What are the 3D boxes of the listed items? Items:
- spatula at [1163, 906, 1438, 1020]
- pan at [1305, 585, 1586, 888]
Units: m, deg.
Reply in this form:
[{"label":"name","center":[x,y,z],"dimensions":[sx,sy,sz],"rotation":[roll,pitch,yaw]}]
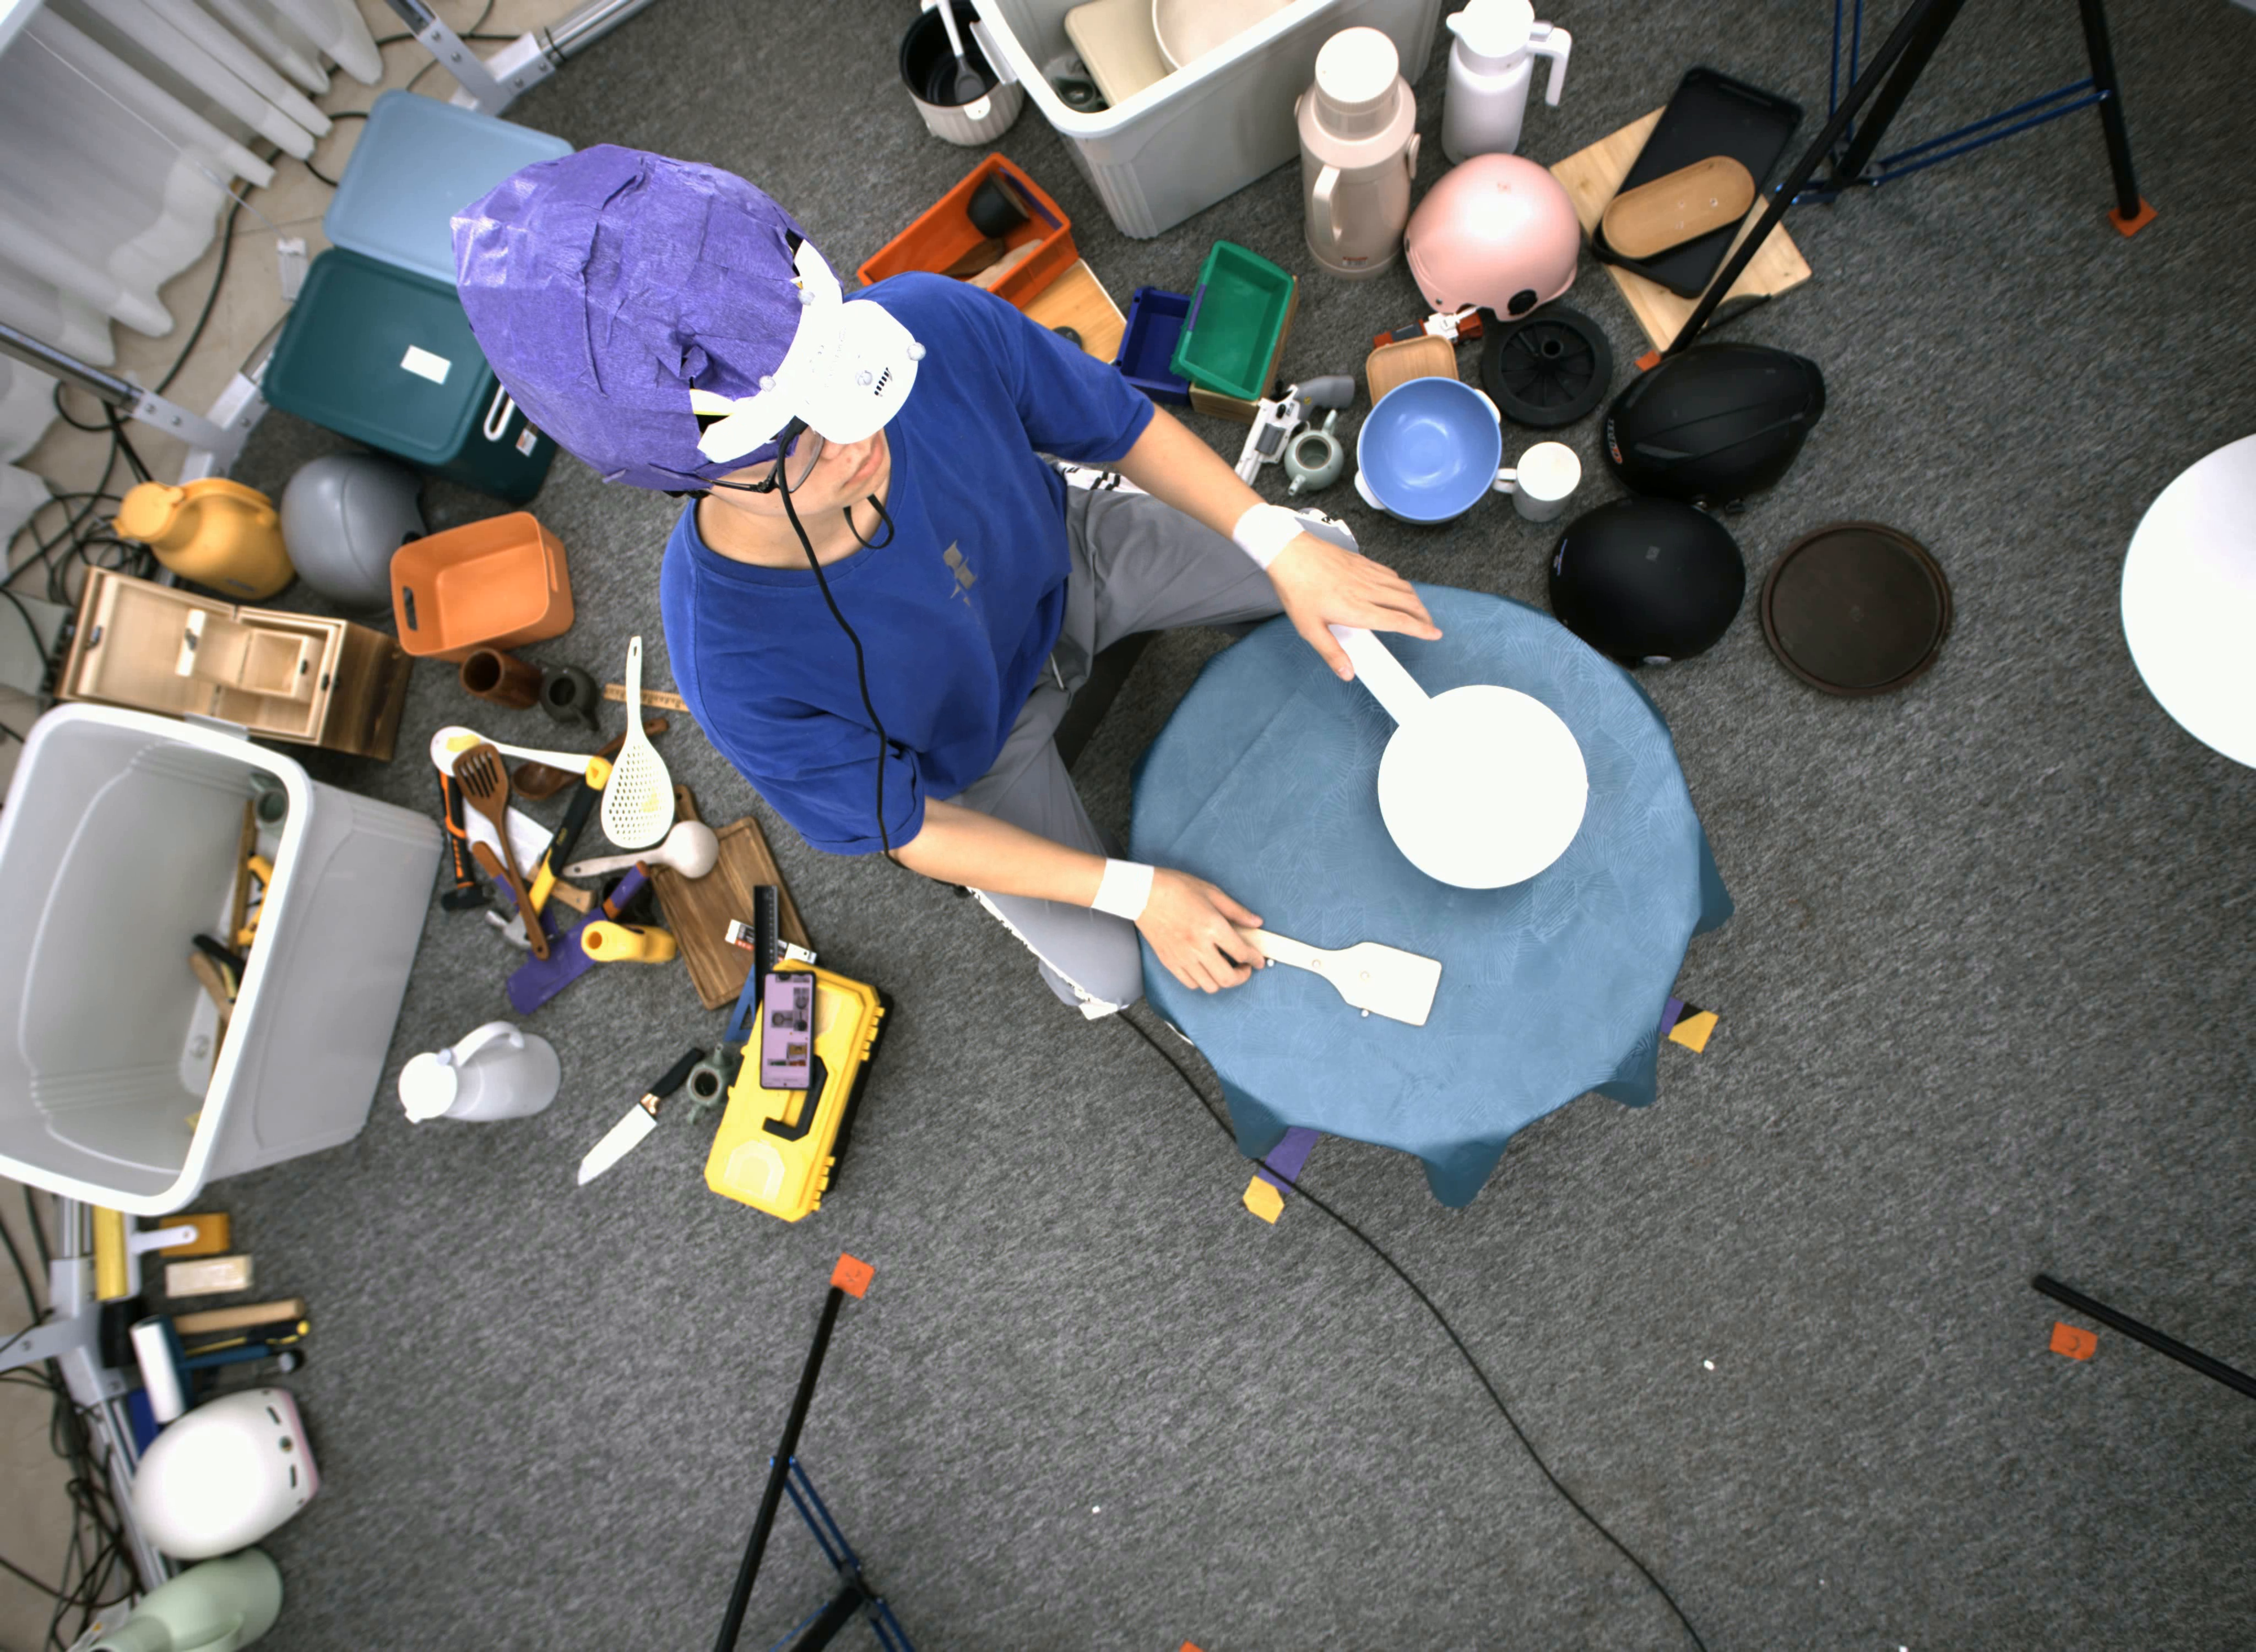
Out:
[{"label":"spatula","center":[0.177,0.134,1.468],"dimensions":[0.293,0.010,0.072],"rotation":[15,91,11]},{"label":"pan","center":[0.309,-0.096,1.410],"dimensions":[0.202,0.102,0.353],"rotation":[-40,81,8]}]
